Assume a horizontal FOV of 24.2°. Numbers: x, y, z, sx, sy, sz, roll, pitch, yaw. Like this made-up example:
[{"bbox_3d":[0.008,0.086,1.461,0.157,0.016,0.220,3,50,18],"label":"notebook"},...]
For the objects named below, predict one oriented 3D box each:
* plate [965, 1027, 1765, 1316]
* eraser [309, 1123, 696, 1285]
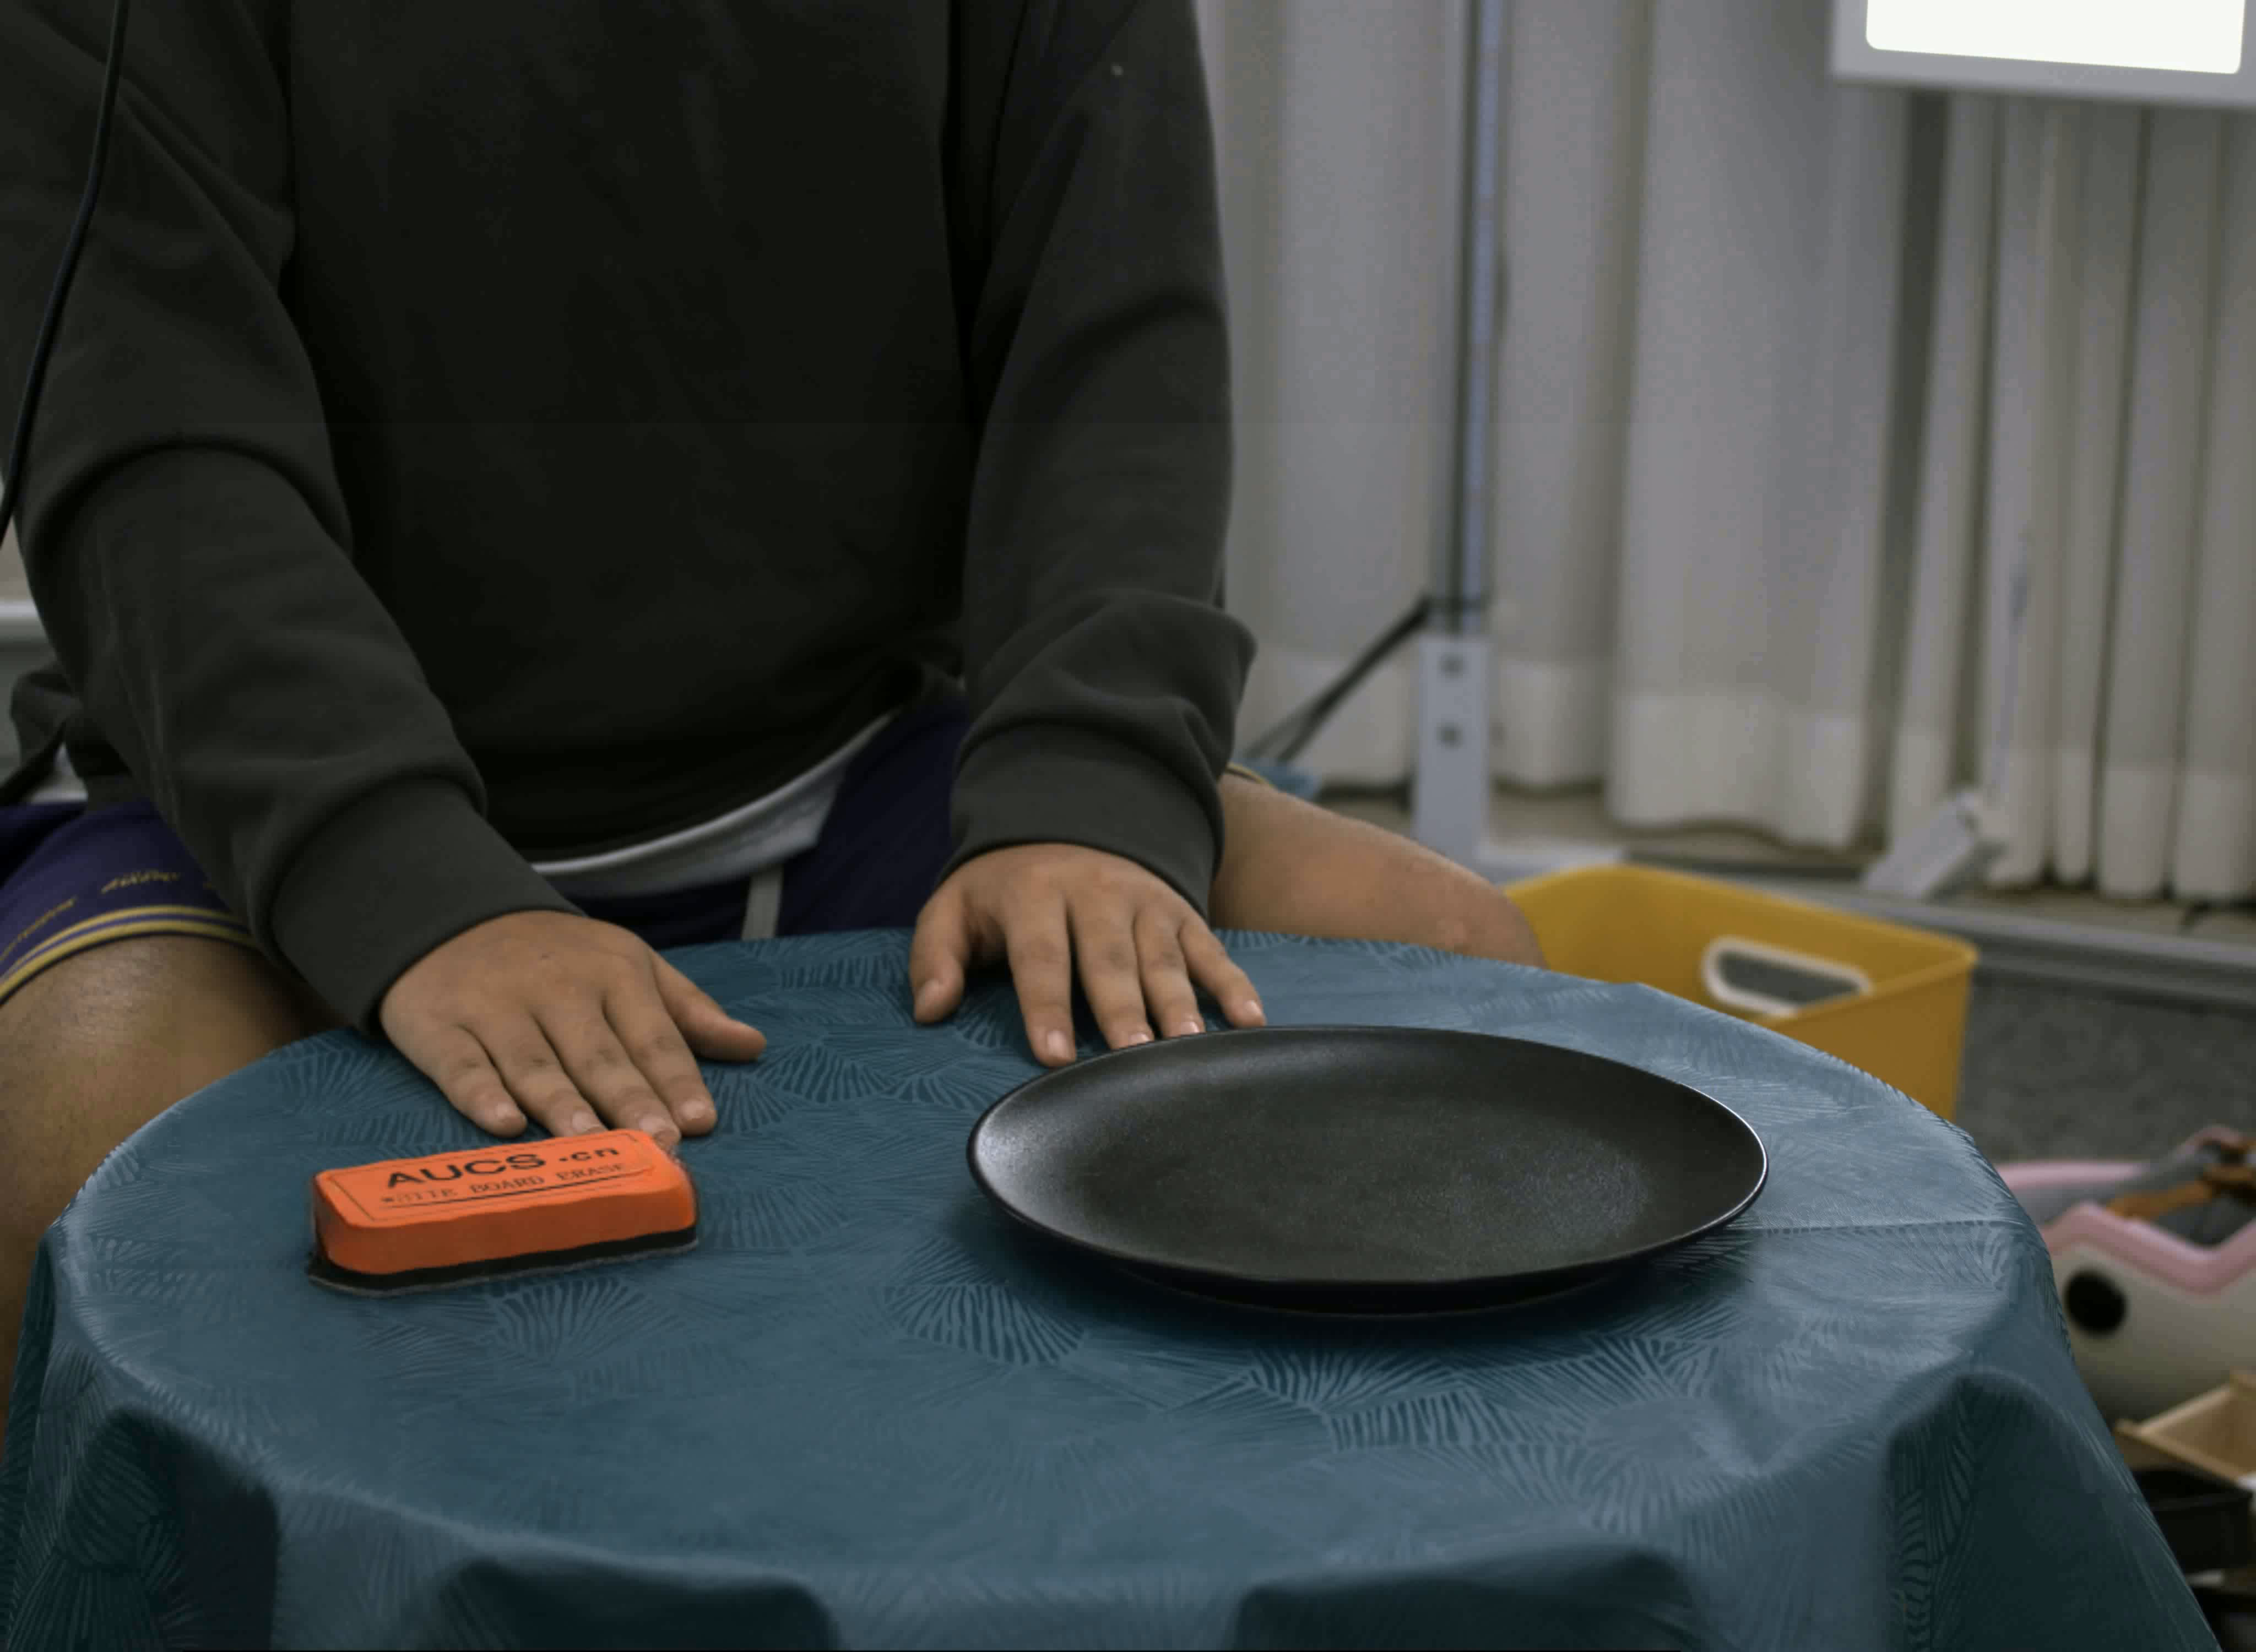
[{"bbox_3d":[0.072,0.107,1.602,0.243,0.023,0.243,1,16,0],"label":"plate"},{"bbox_3d":[-0.186,0.111,1.563,0.108,0.023,0.058,-5,17,-26],"label":"eraser"}]
